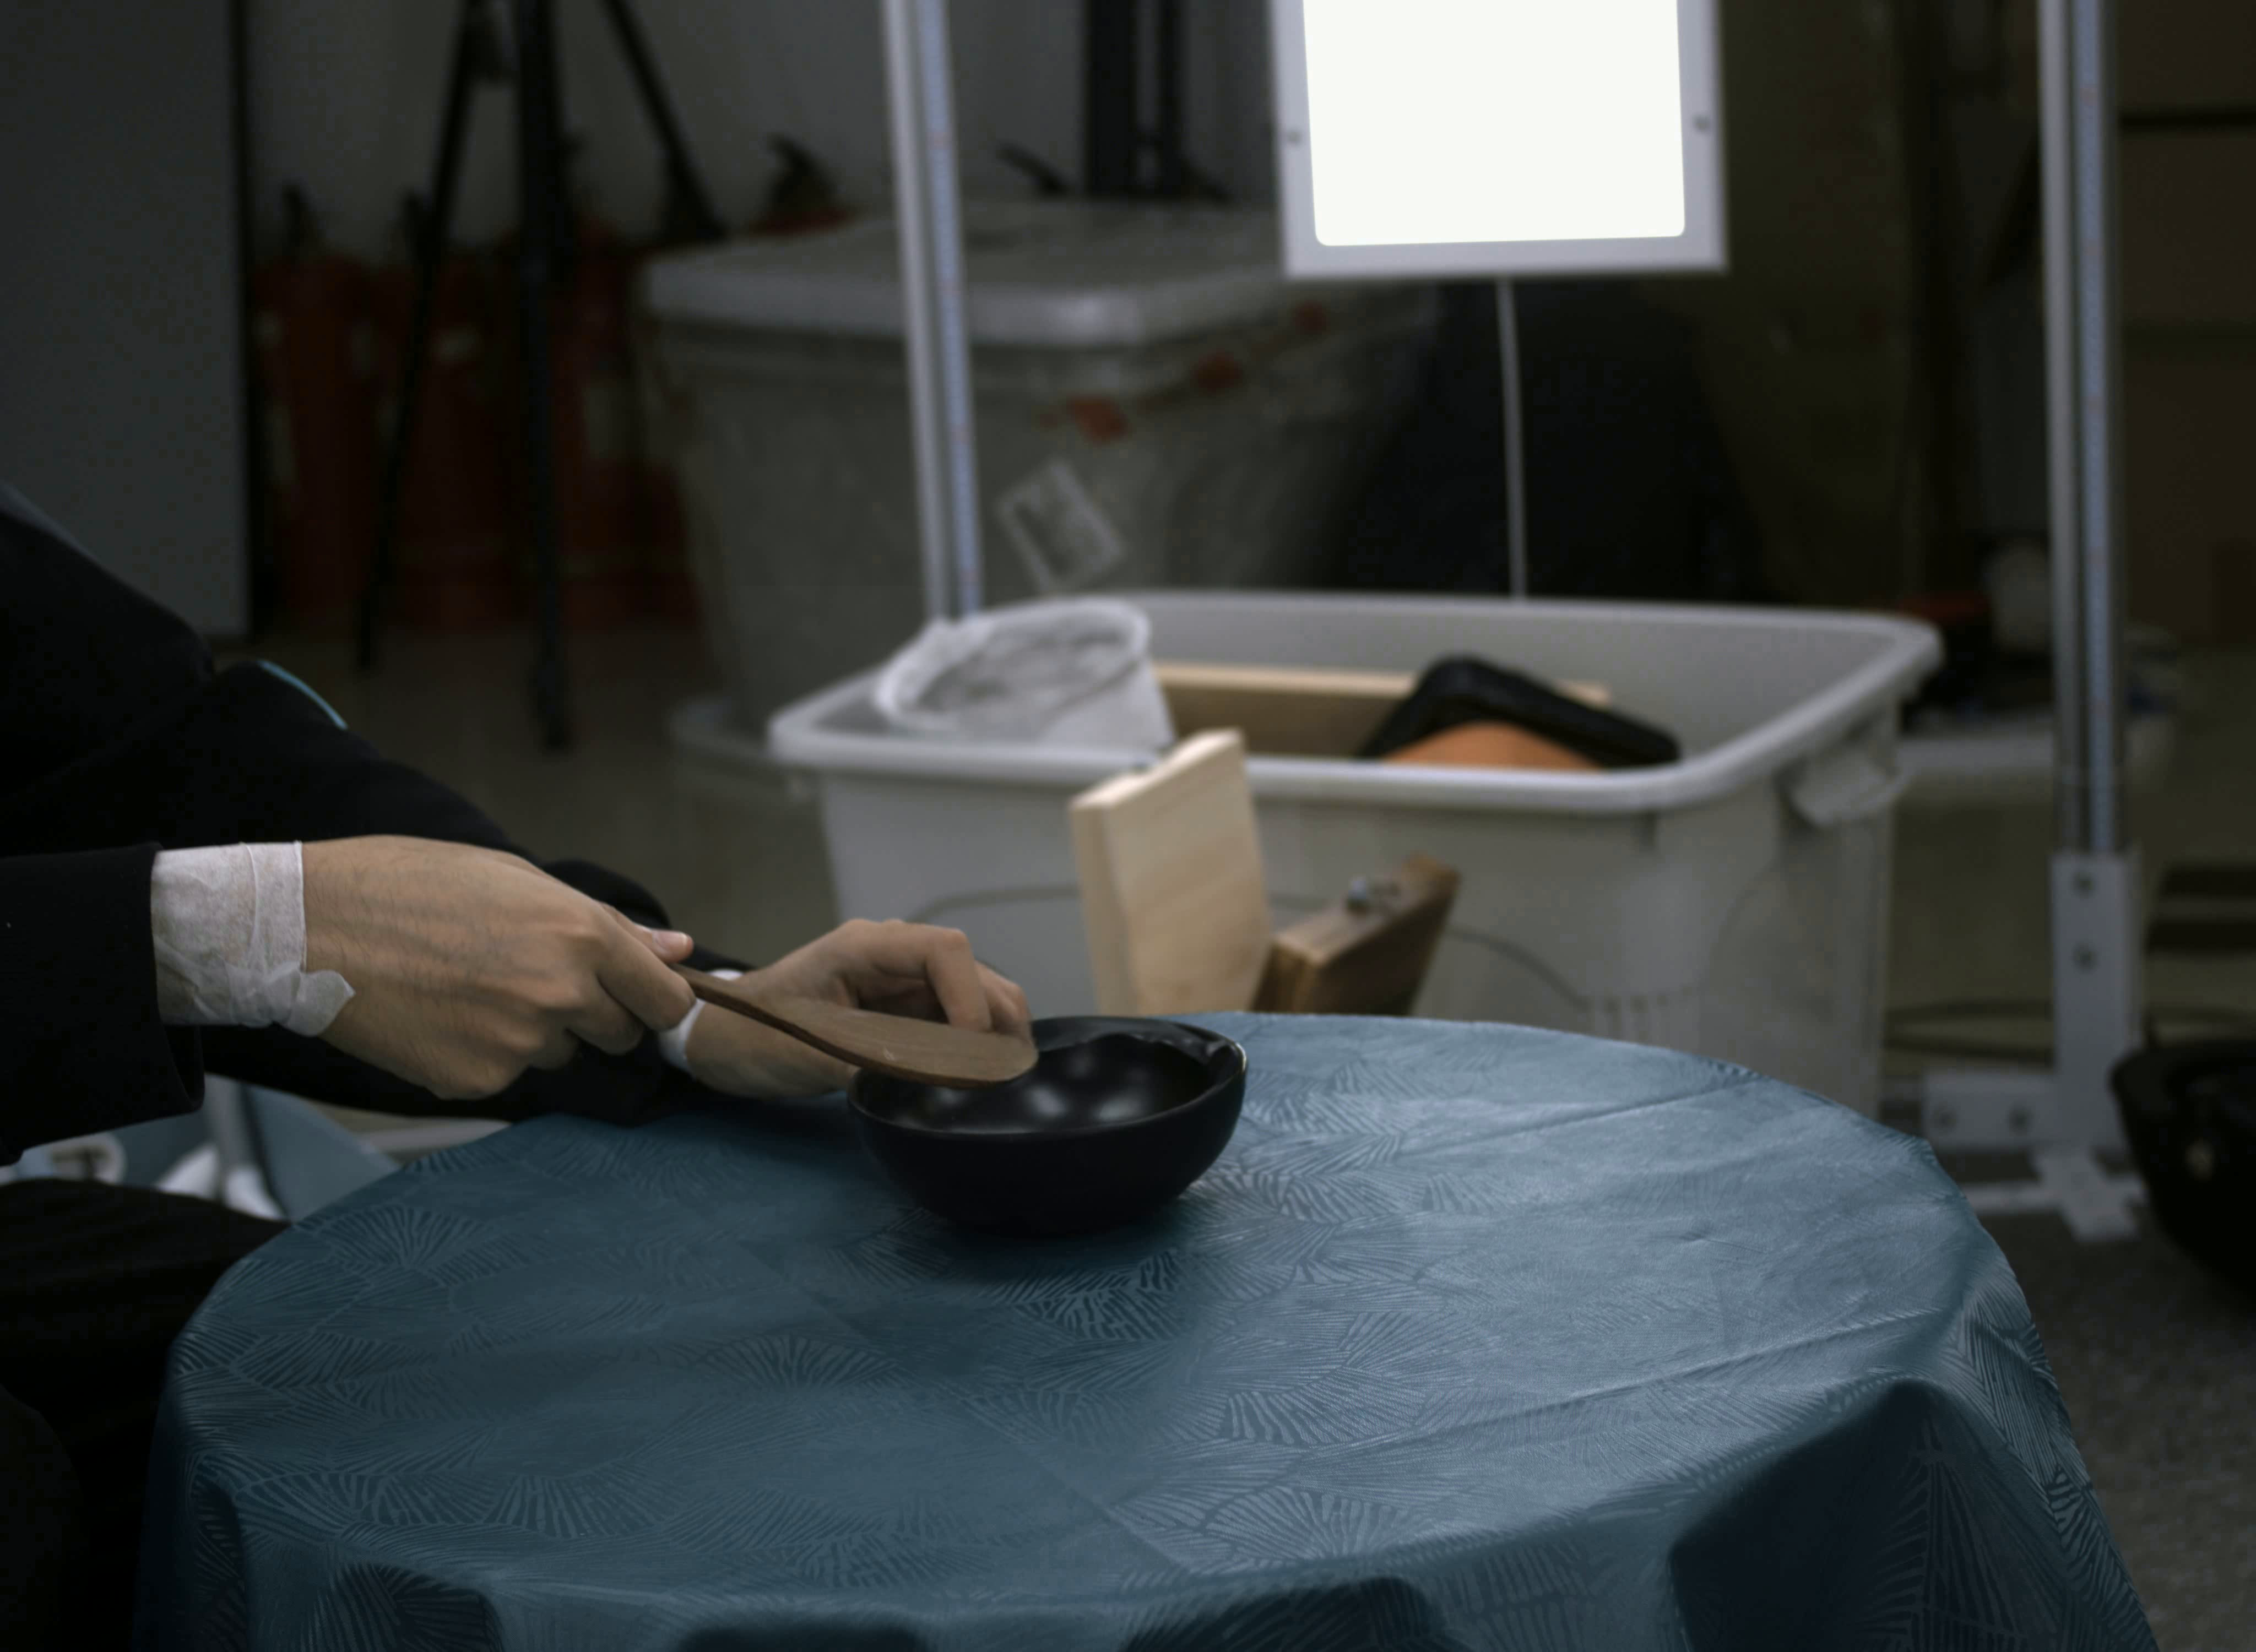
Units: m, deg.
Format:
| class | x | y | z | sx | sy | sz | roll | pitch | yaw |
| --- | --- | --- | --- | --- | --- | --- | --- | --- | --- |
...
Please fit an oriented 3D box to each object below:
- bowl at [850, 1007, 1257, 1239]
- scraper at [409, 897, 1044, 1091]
| class | x | y | z | sx | sy | sz | roll | pitch | yaw |
| --- | --- | --- | --- | --- | --- | --- | --- | --- | --- |
| bowl | -0.025 | 0.106 | 1.883 | 0.139 | 0.050 | 0.140 | -4 | 16 | 0 |
| scraper | -0.130 | 0.054 | 1.770 | 0.212 | 0.011 | 0.075 | 15 | 10 | 10 |
